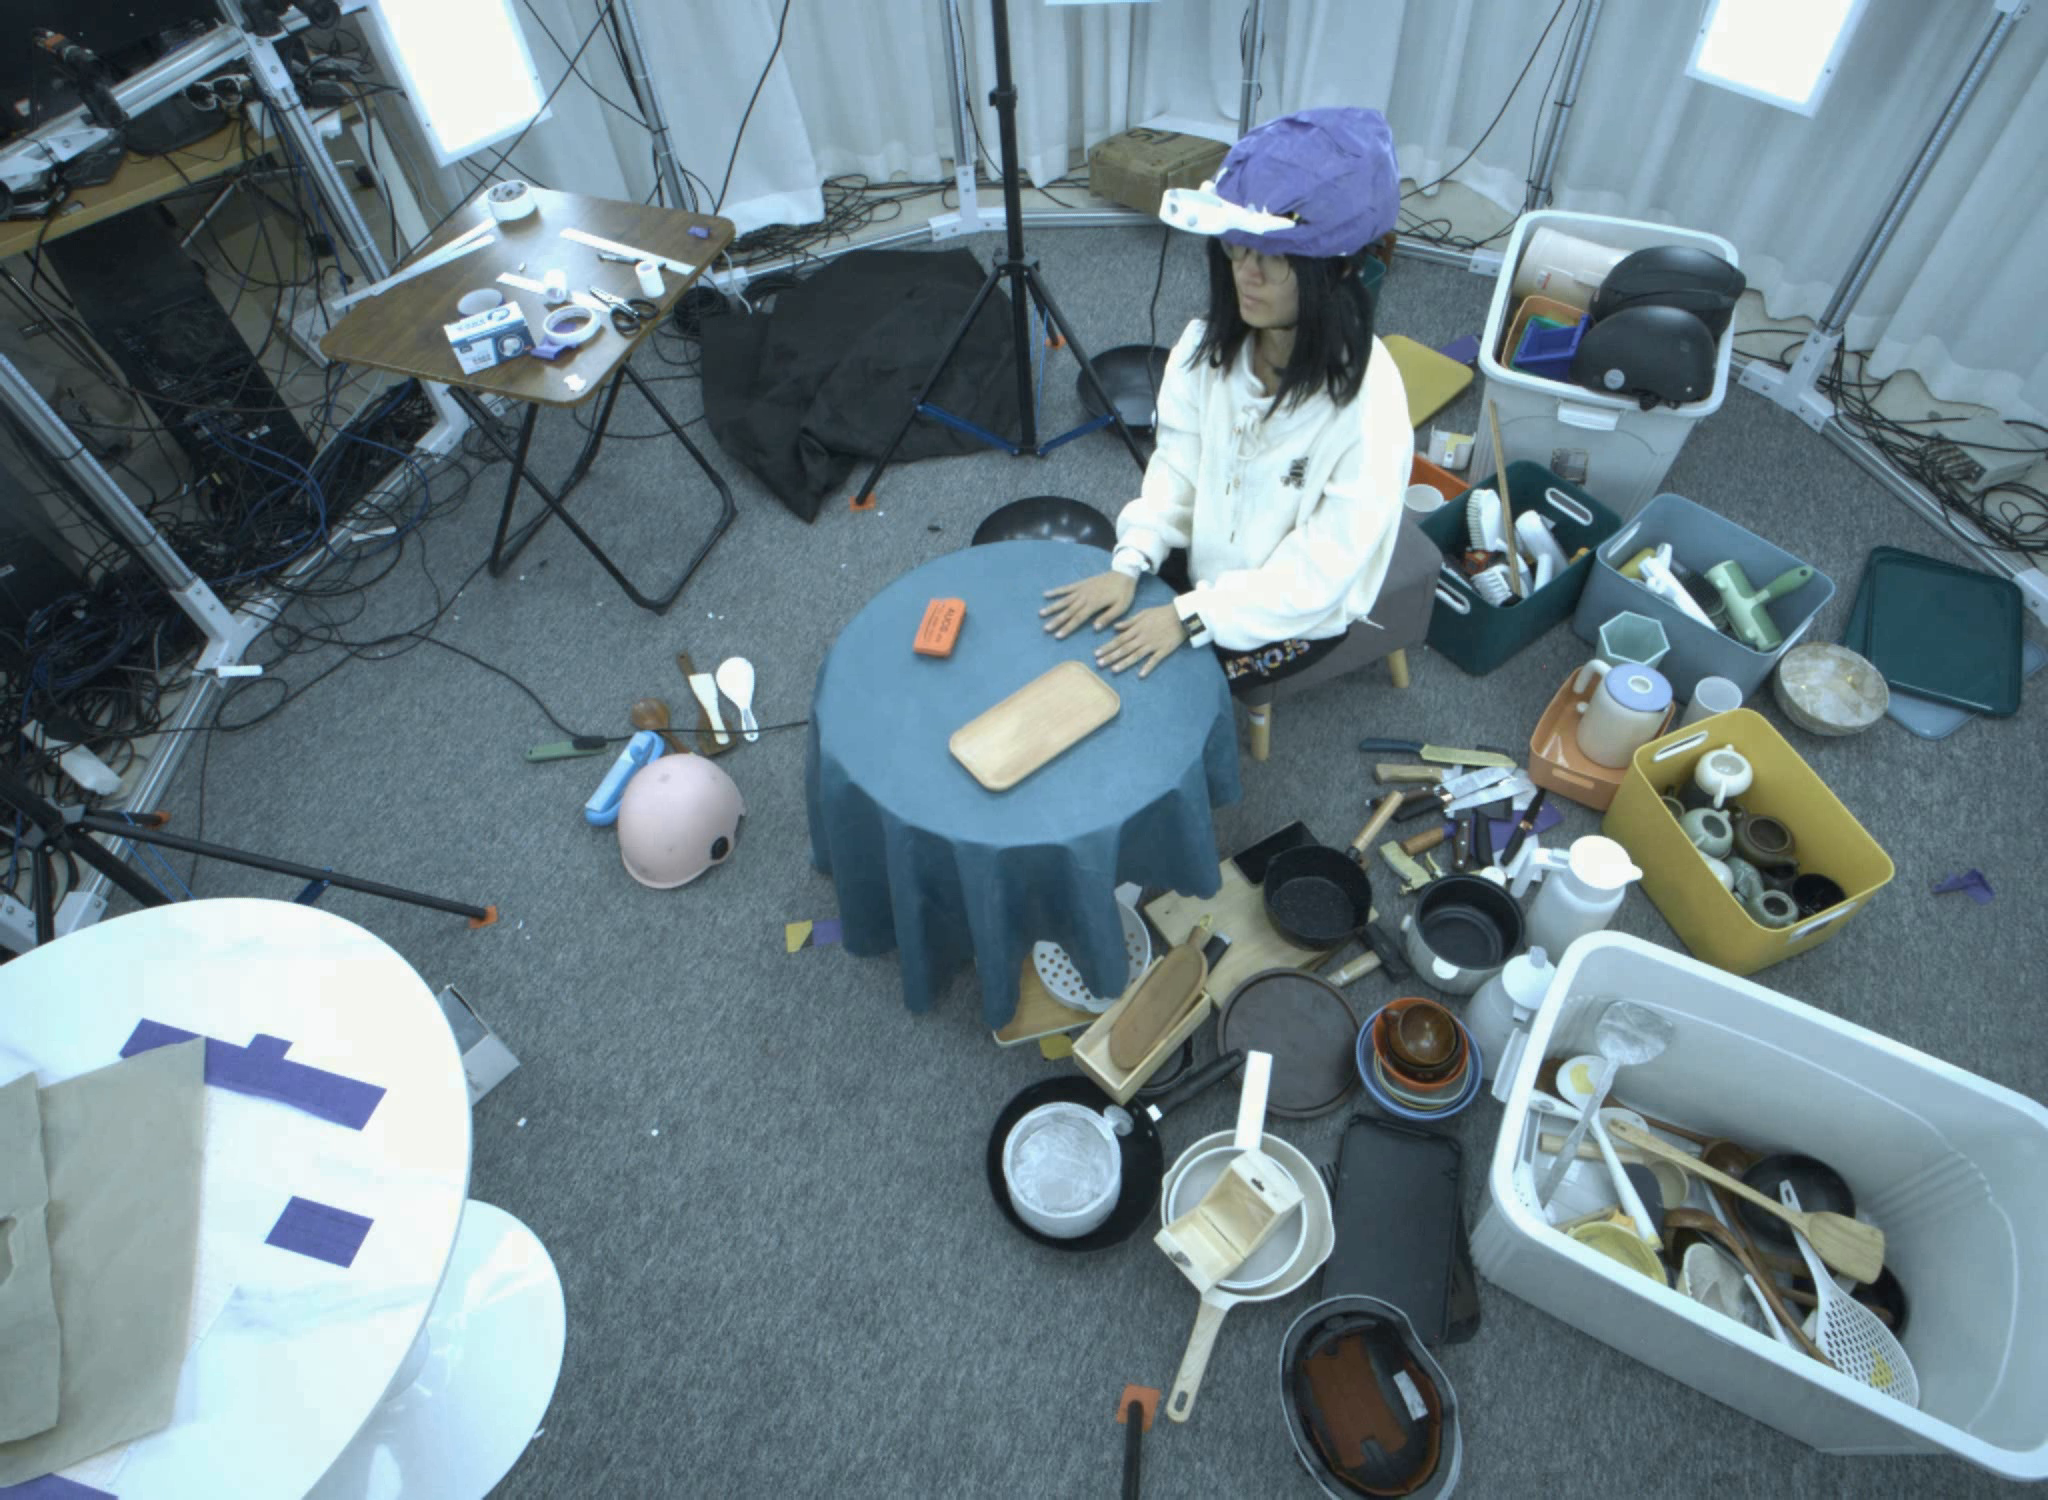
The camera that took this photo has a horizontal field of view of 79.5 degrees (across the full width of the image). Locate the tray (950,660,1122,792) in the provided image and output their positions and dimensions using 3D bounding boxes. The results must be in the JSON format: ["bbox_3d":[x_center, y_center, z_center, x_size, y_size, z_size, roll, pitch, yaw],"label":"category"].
[{"bbox_3d":[0.018,-0.037,1.802,0.253,0.023,0.128,-33,63,-20],"label":"tray"}]

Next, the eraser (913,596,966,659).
[{"bbox_3d":[-0.132,-0.192,1.914,0.058,0.023,0.107,10,56,11],"label":"eraser"}]
